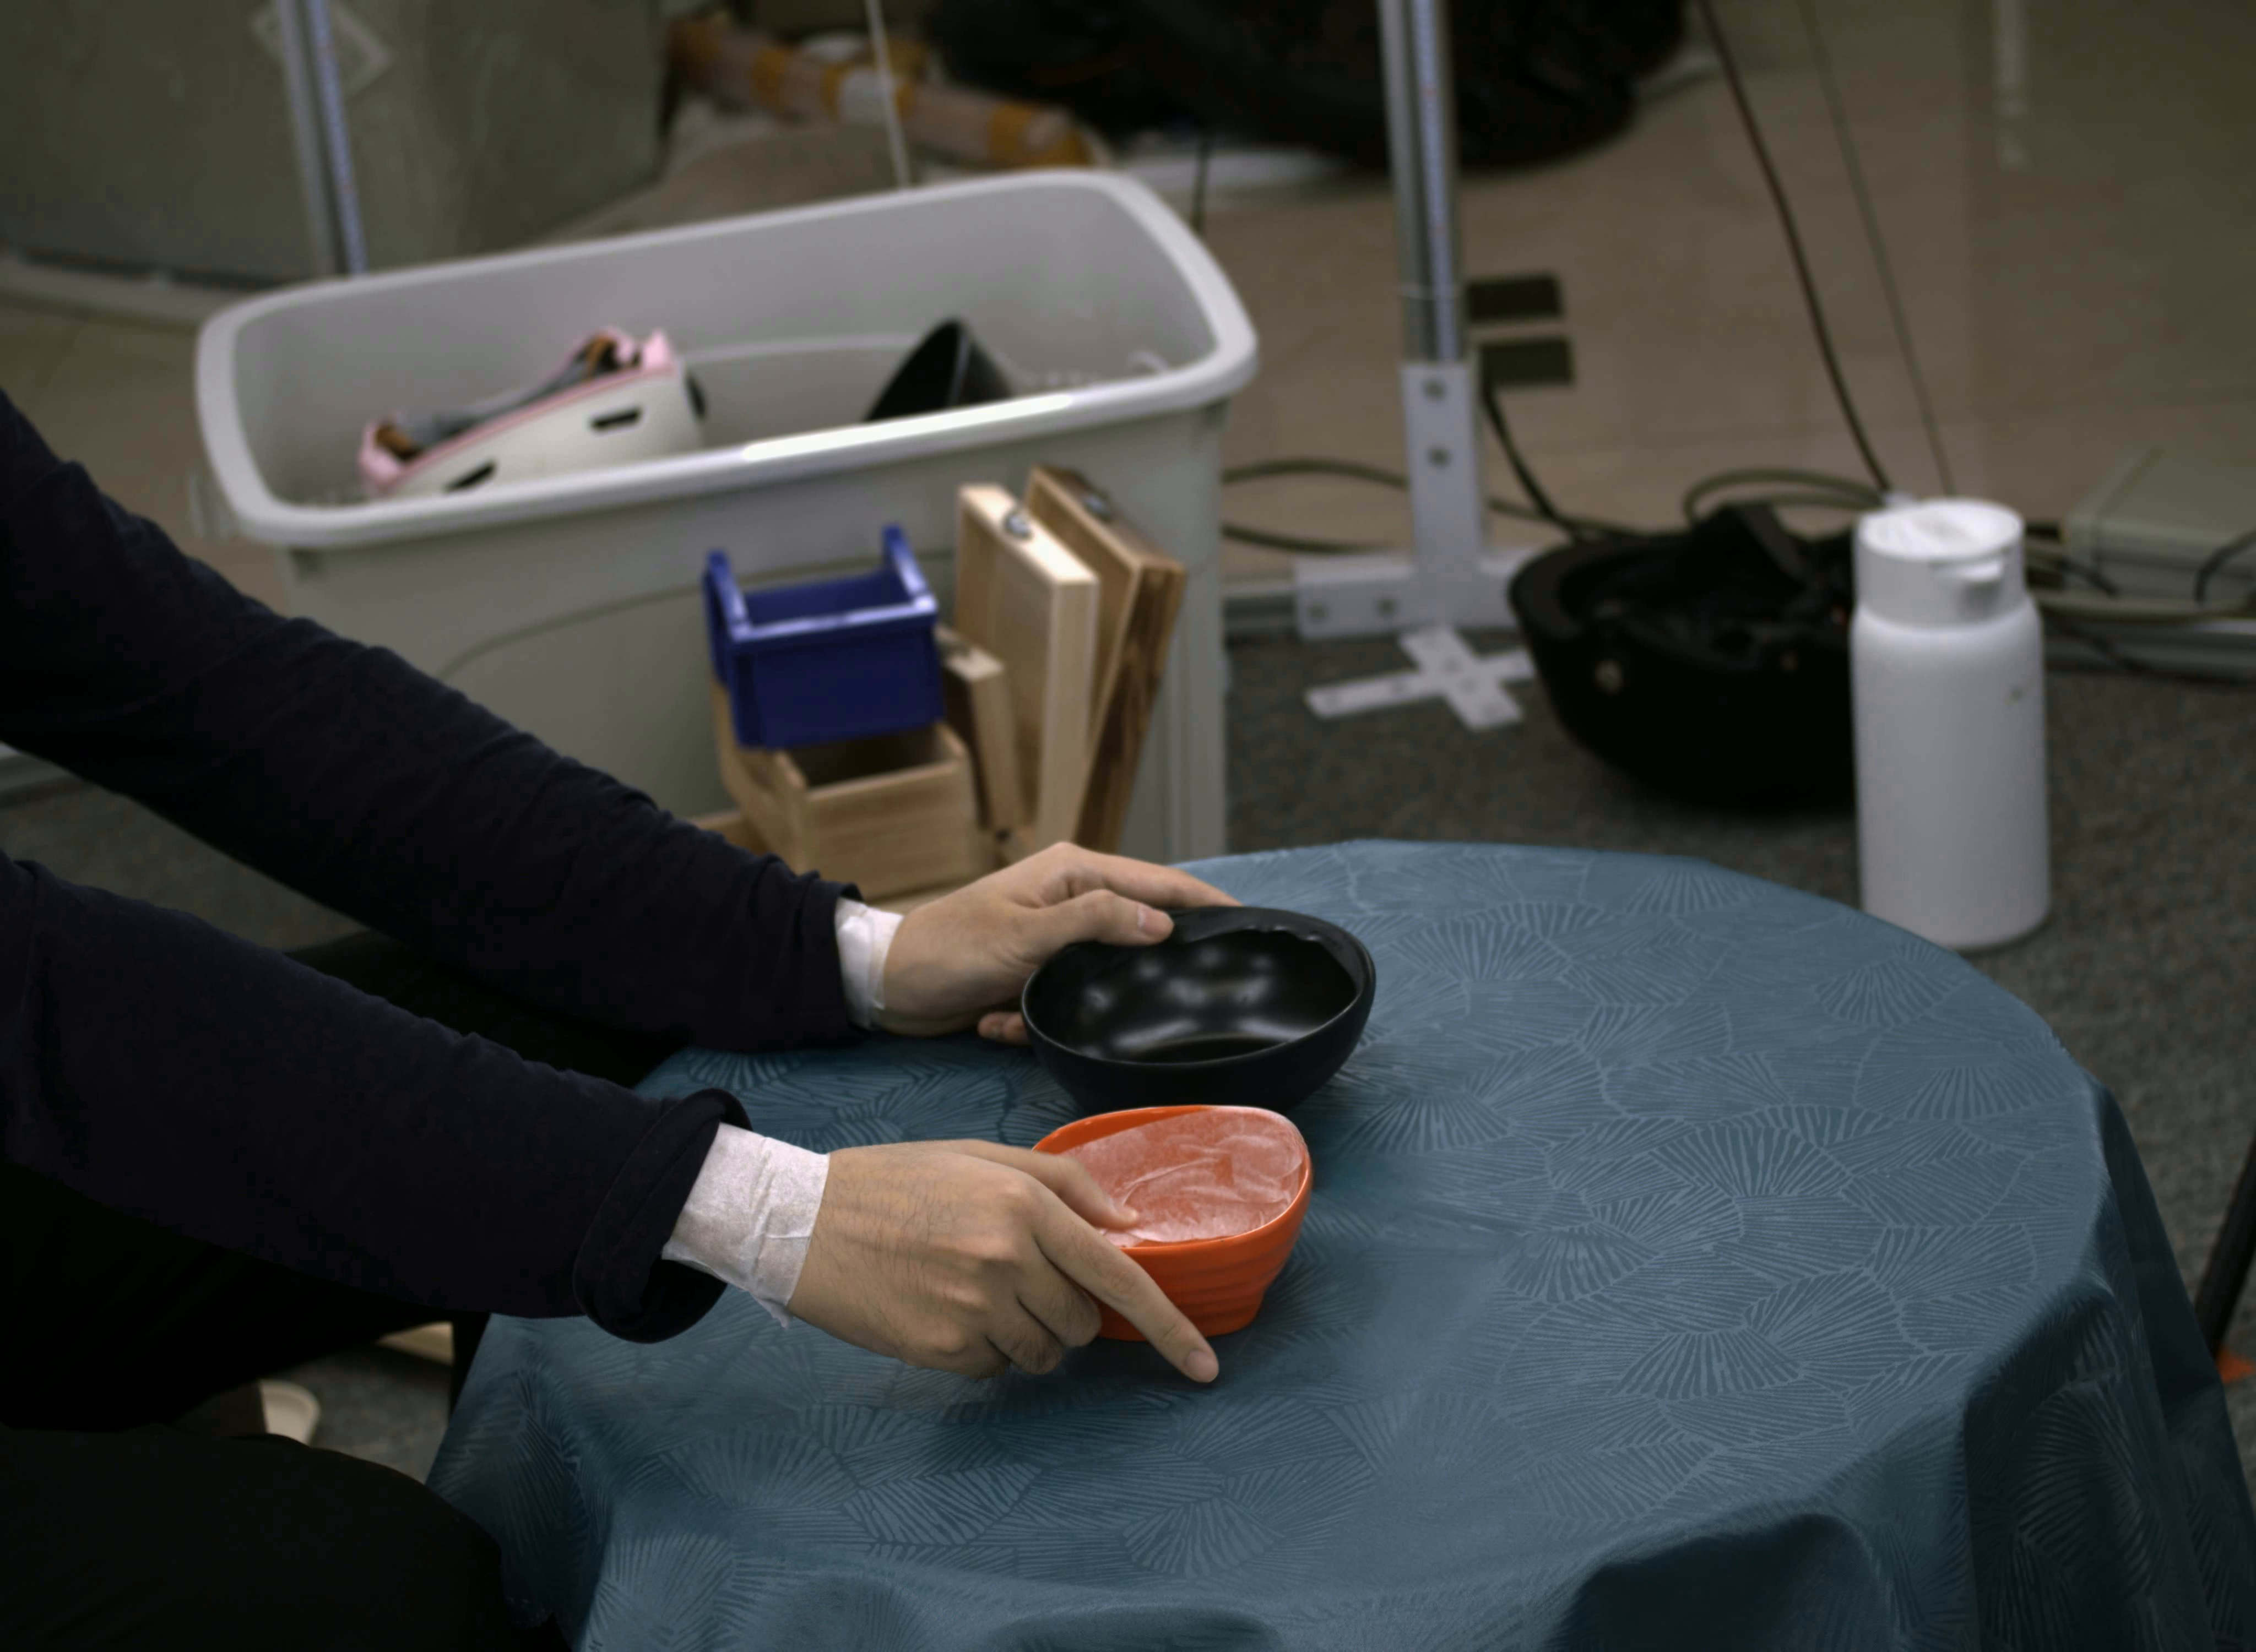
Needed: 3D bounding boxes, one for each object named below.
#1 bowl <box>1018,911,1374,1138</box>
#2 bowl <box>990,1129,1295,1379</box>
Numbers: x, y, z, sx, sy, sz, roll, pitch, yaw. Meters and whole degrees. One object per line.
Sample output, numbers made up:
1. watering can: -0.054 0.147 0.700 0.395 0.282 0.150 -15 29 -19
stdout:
1. bowl: 0.029 0.085 2.208 0.140 0.050 0.138 -8 24 4
2. bowl: 0.006 0.161 2.064 0.119 0.052 0.117 -1 32 0
